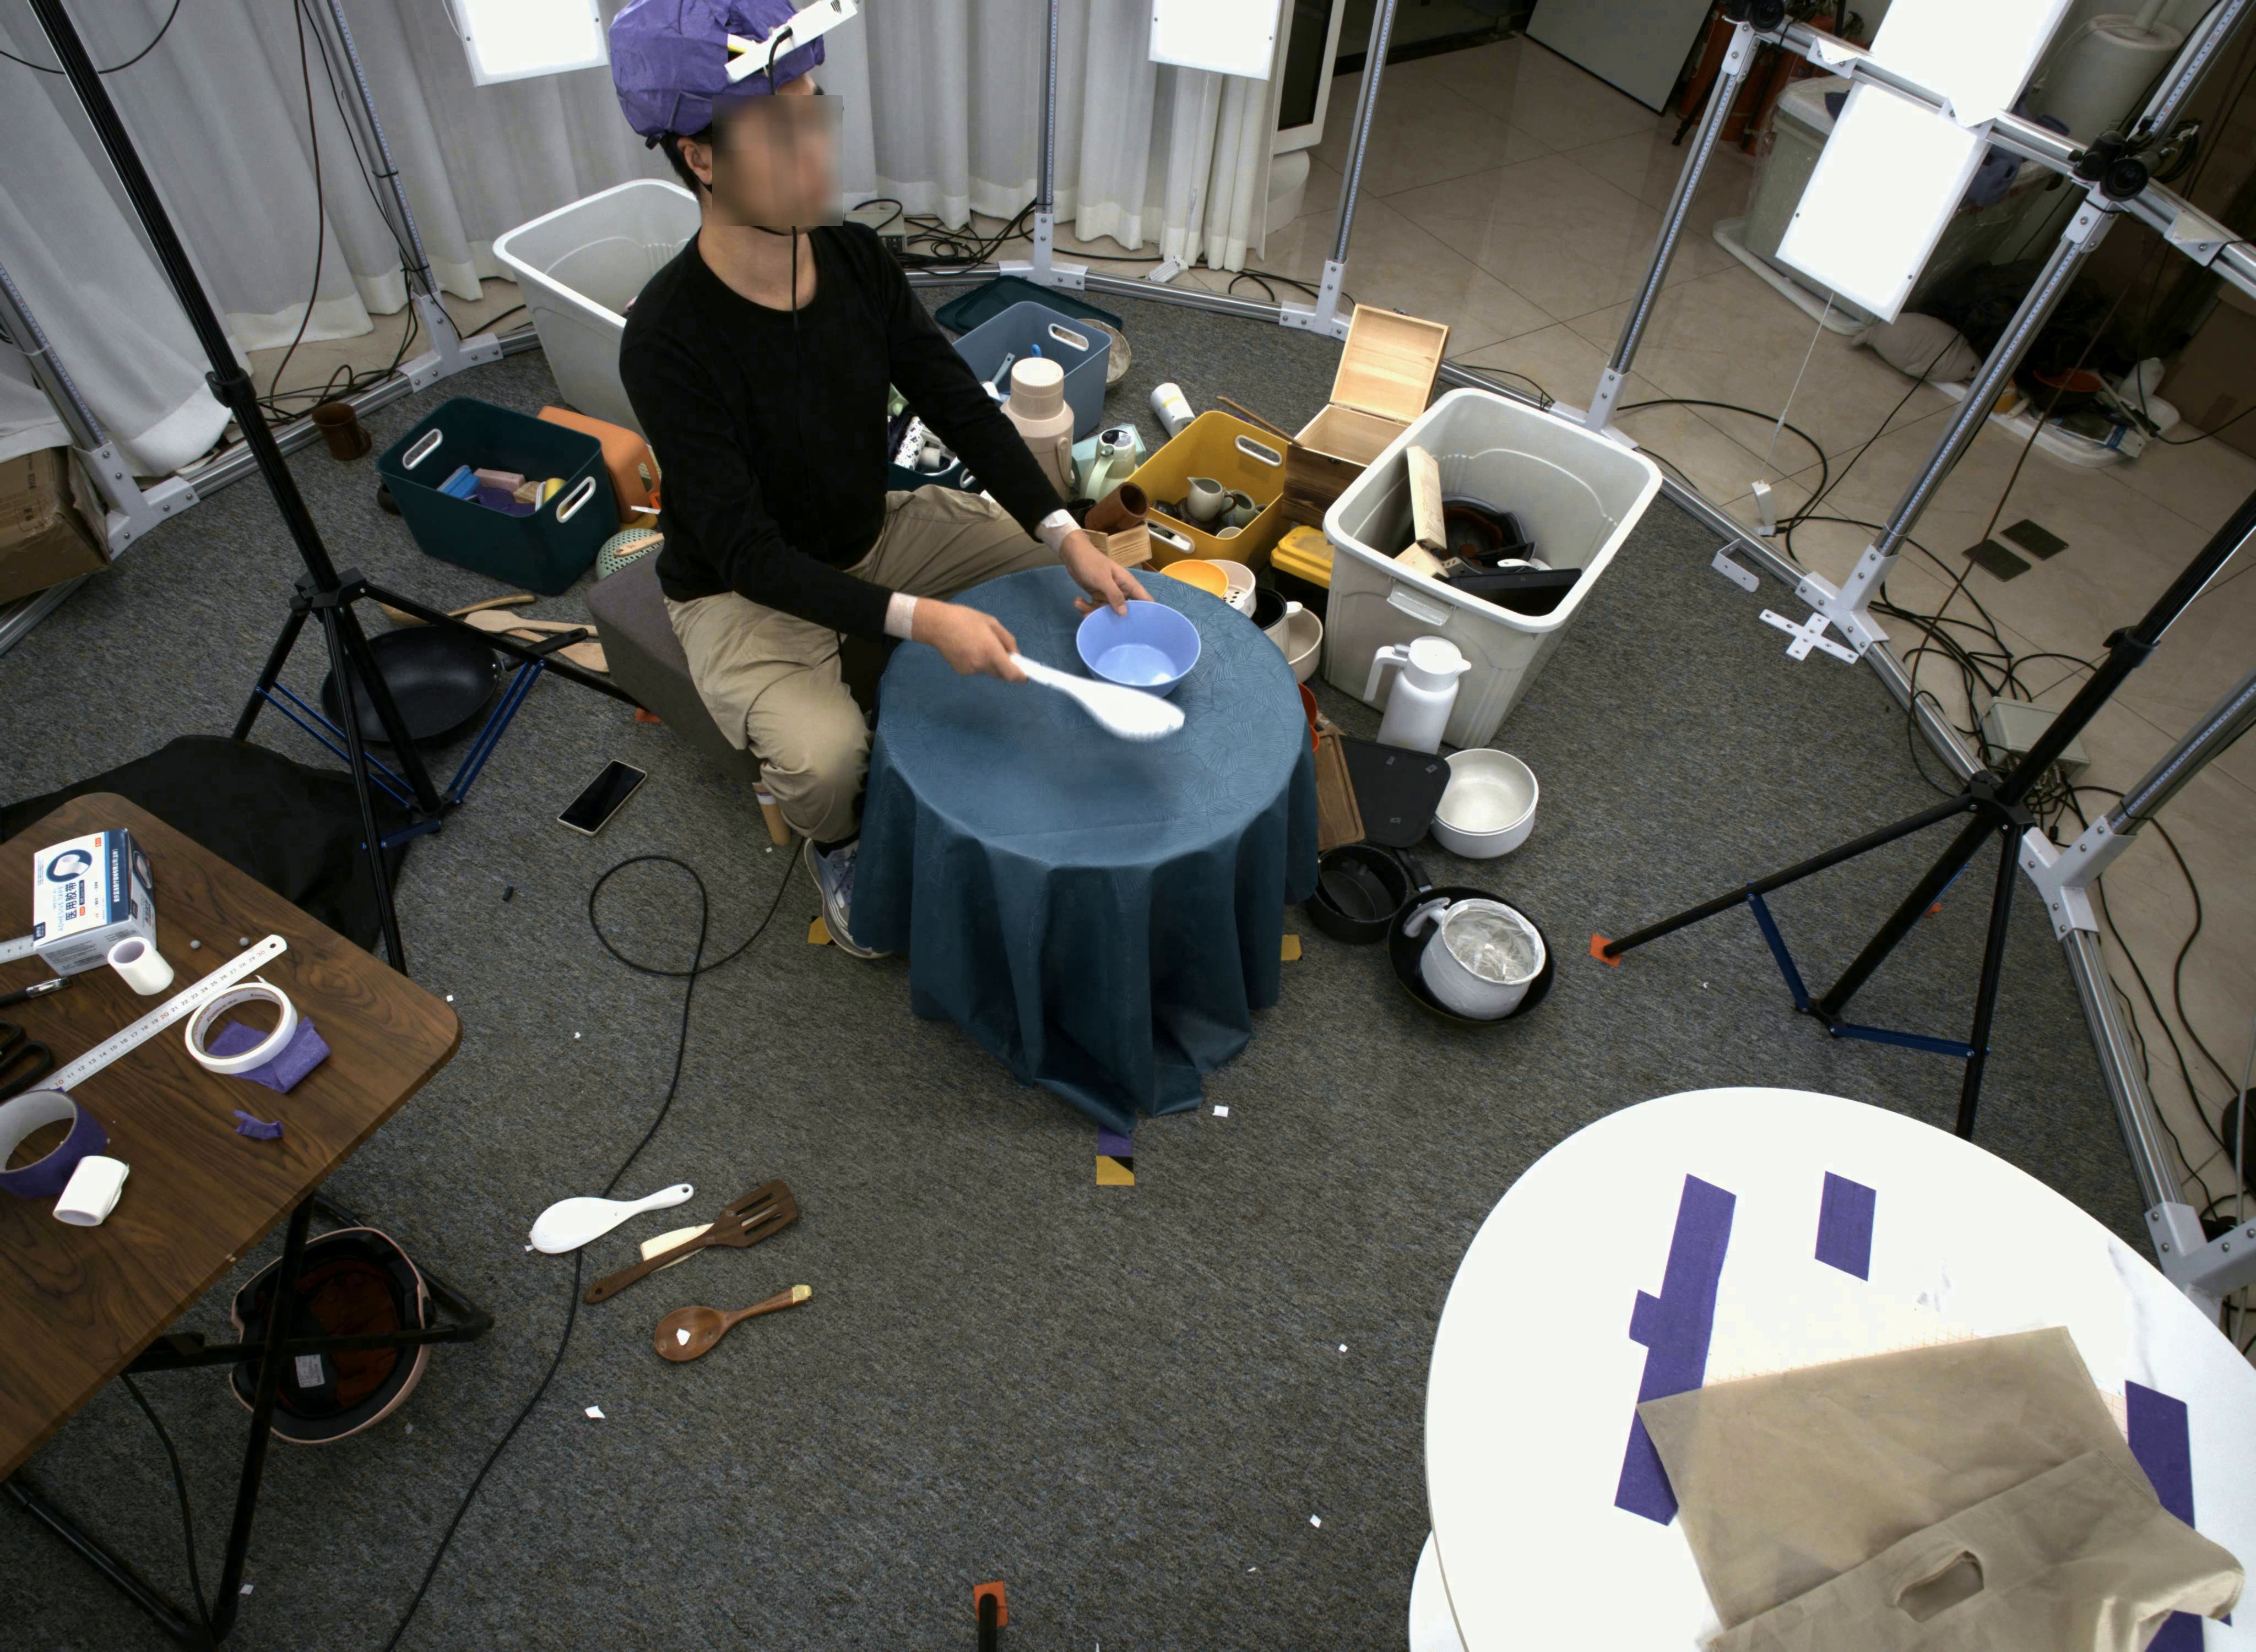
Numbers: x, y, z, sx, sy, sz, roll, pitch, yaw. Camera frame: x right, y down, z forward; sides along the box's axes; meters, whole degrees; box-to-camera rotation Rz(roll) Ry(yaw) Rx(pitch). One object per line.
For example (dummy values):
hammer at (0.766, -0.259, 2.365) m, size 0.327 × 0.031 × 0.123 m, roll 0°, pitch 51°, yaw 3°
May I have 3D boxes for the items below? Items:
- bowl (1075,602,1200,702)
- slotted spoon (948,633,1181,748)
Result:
bowl at (0.012, -0.241, 1.834) m, size 0.176 × 0.068 × 0.180 m, roll 1°, pitch 49°, yaw -2°
slotted spoon at (-0.090, -0.183, 1.698) m, size 0.353 × 0.045 × 0.137 m, roll 30°, pitch 24°, yaw 17°
